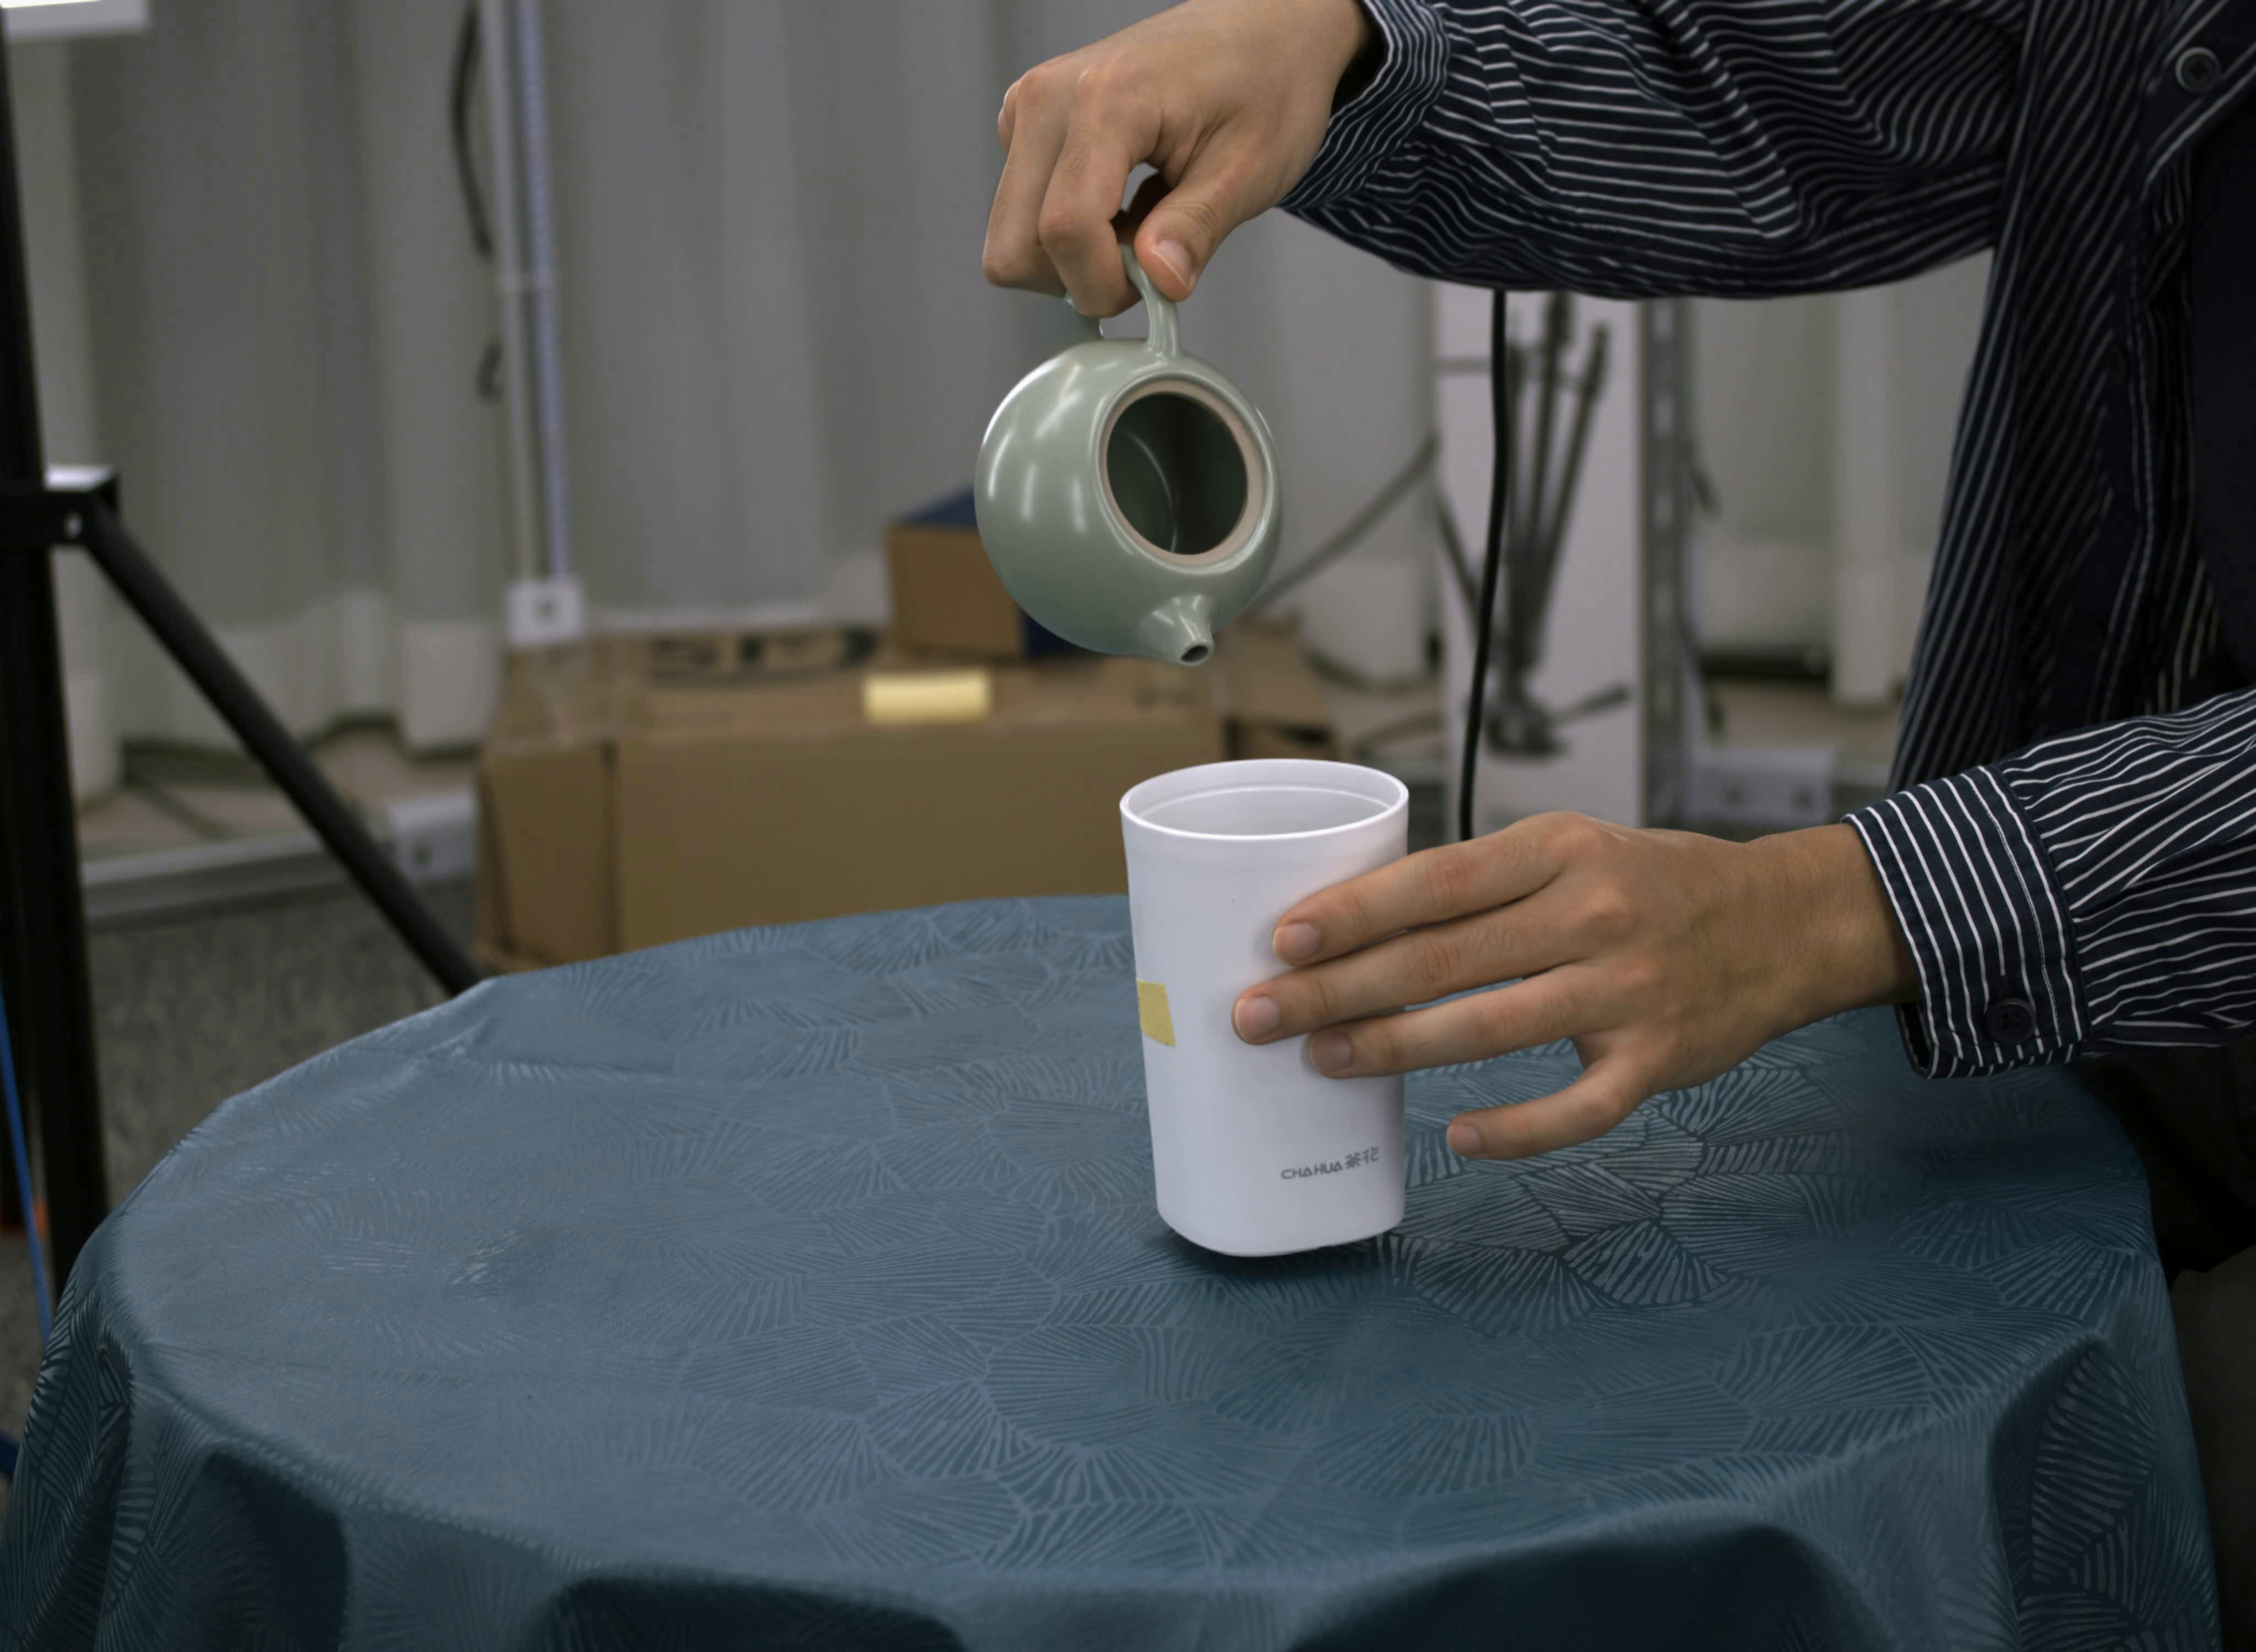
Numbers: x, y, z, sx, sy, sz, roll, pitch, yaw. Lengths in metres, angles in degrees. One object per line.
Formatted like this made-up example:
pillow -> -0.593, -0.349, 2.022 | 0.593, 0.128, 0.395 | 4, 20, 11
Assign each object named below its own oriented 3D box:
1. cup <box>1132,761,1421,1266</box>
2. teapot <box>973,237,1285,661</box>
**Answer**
cup -> 0.043, 0.053, 1.490 | 0.081, 0.125, 0.082 | -2, 15, -1
teapot -> 0.000, -0.105, 1.516 | 0.089, 0.129, 0.062 | 7, -15, -28
